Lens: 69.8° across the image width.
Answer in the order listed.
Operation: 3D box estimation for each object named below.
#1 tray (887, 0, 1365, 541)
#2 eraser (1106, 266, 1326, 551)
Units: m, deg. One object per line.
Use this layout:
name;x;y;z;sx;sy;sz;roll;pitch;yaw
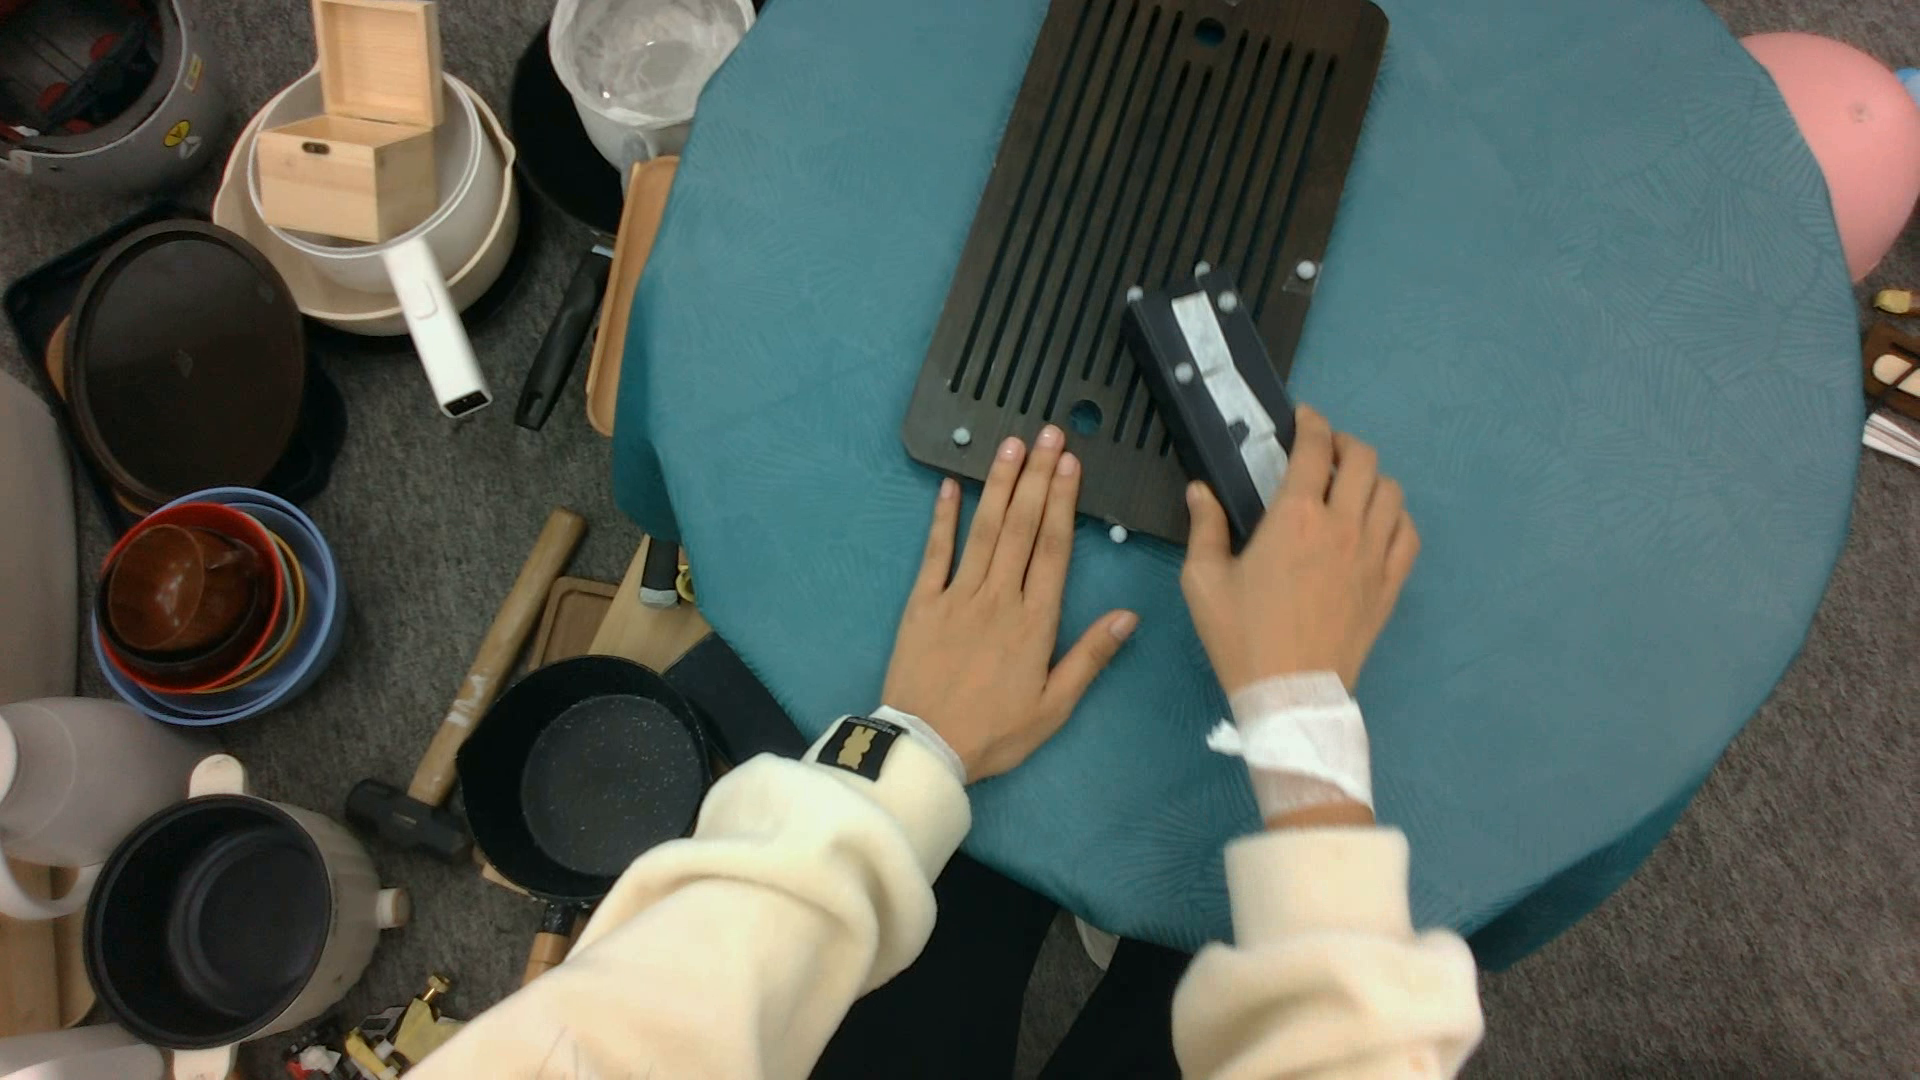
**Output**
tray;0.087;-0.161;0.684;0.170;0.018;0.306;17;76;3
eraser;0.116;-0.061;0.637;0.053;0.030;0.125;-23;79;-4
